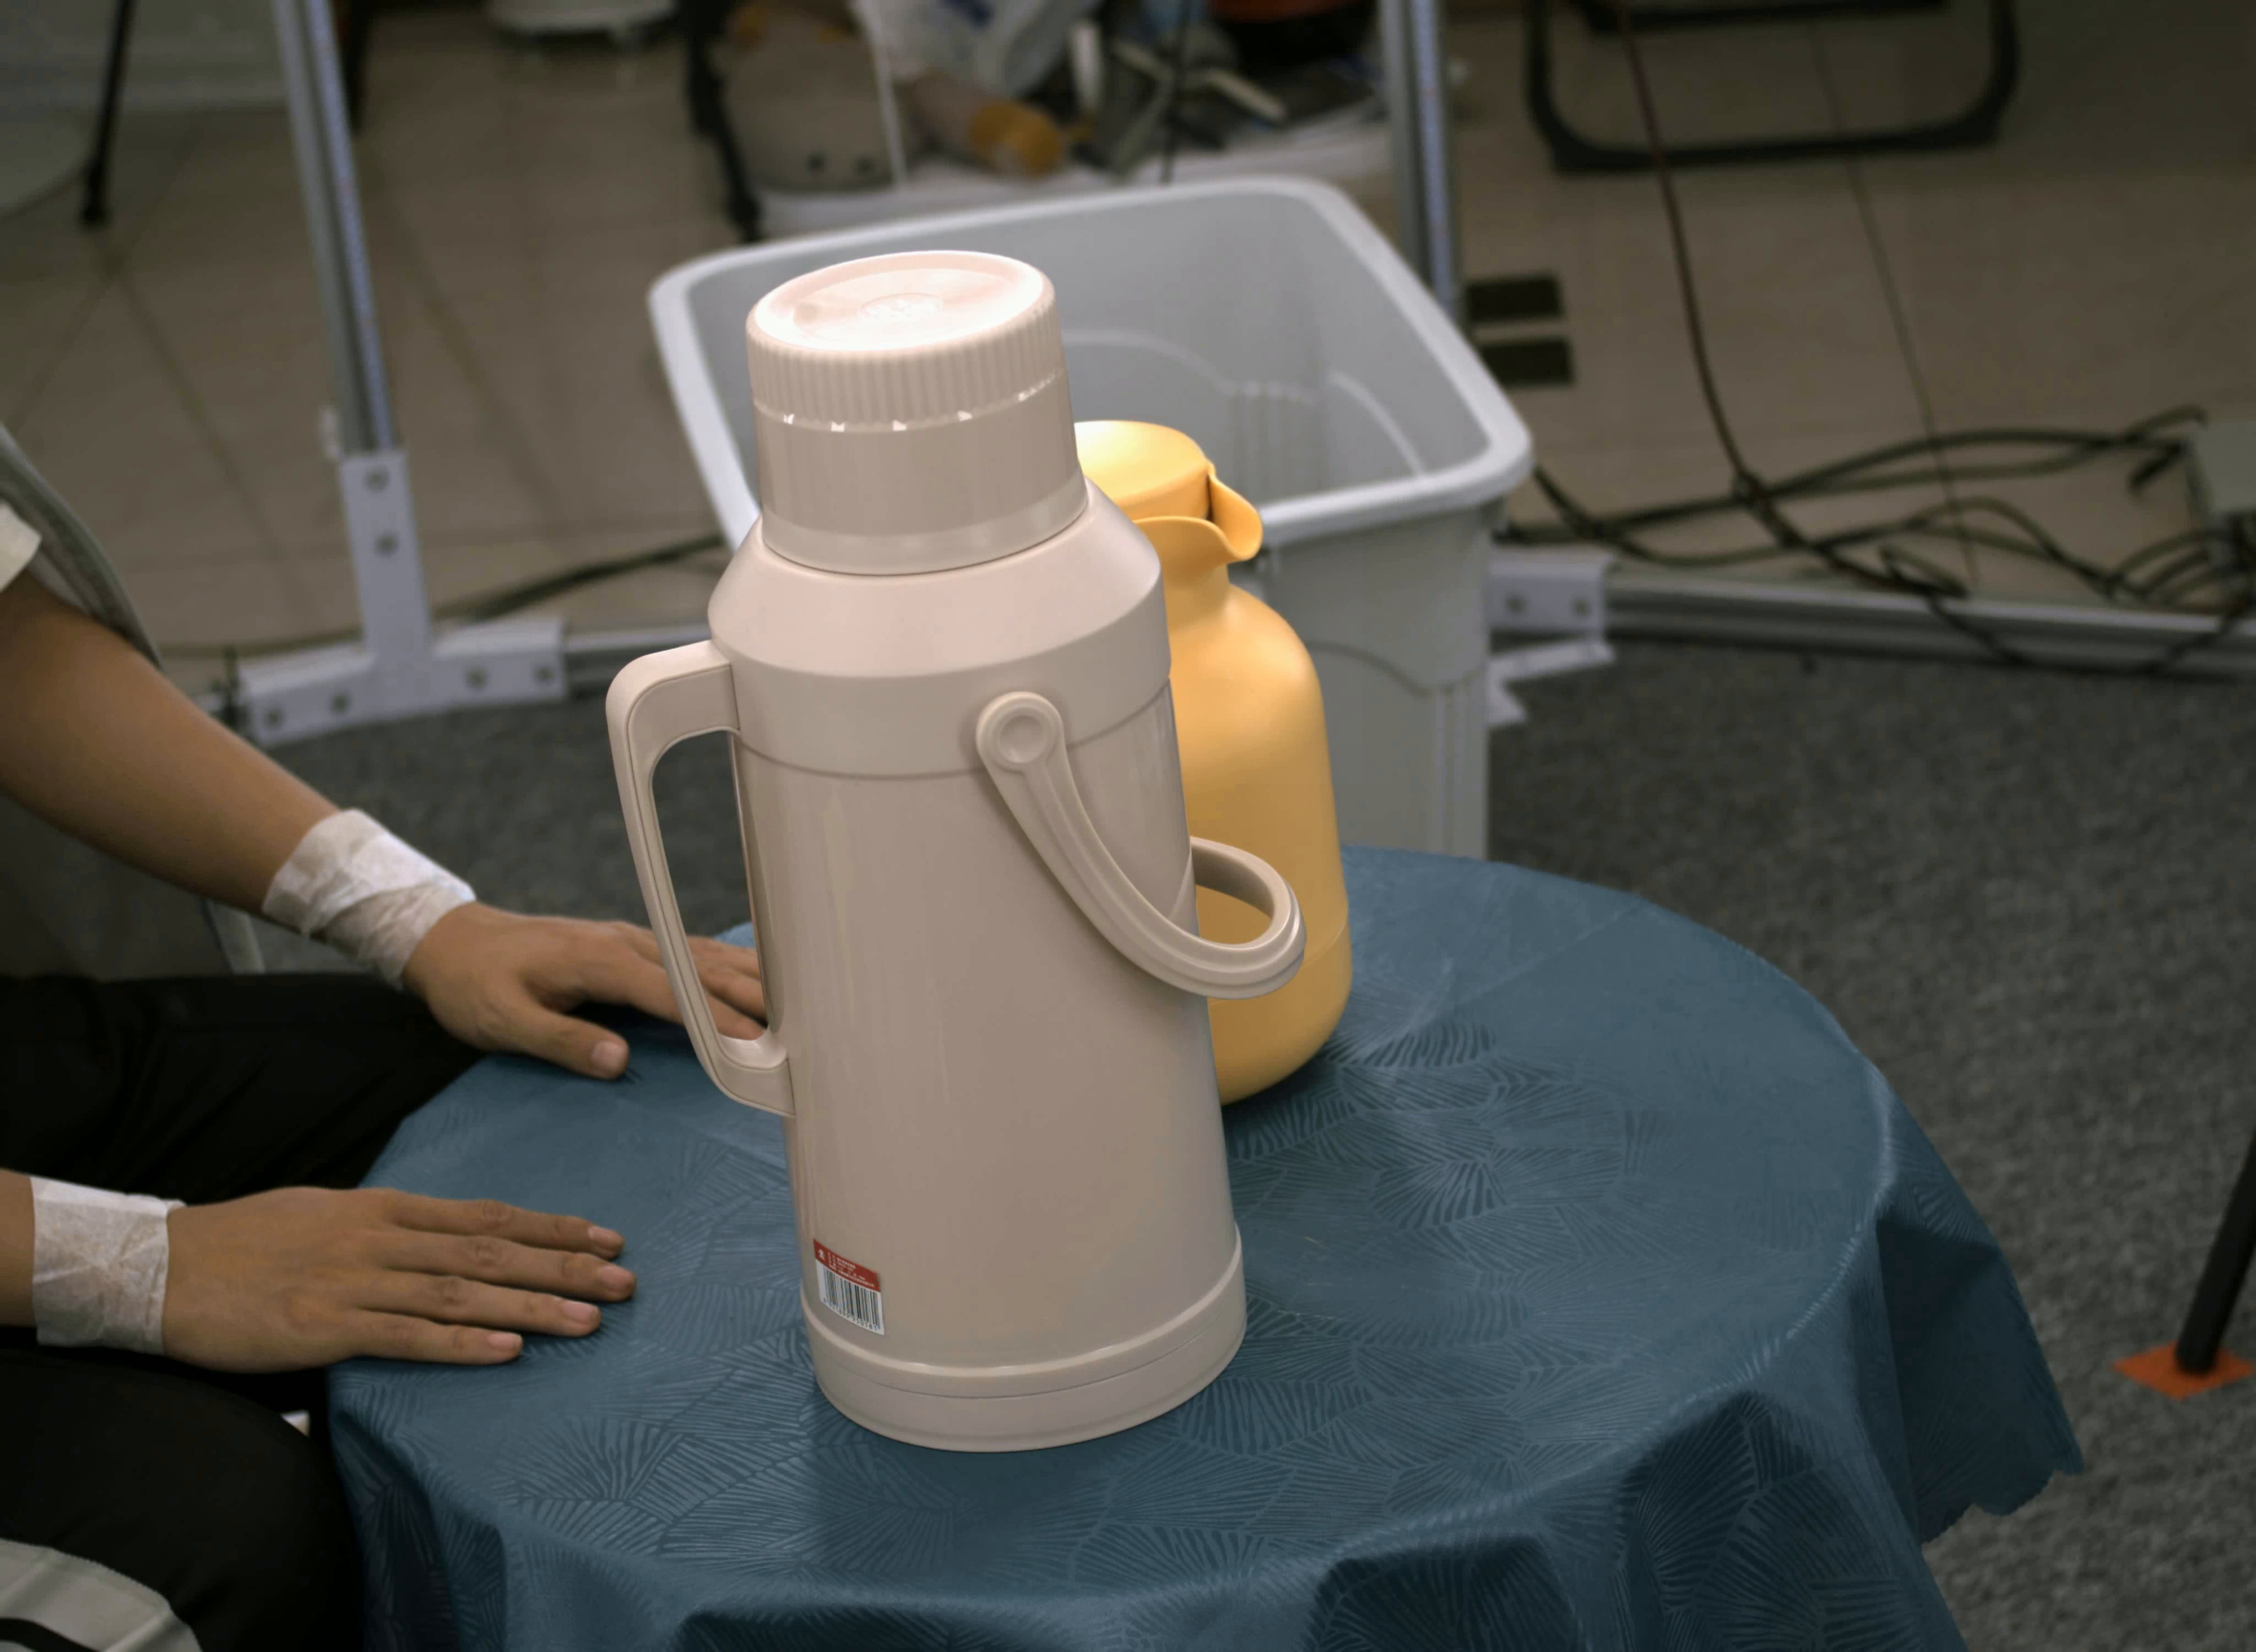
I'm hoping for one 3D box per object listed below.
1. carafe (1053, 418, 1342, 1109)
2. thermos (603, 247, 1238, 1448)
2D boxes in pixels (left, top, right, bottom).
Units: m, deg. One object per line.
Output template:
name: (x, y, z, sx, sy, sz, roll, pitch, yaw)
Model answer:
carafe: (-0.018, -0.031, 2.205, 0.201, 0.264, 0.162, 15, 31, 36)
thermos: (-0.071, 0.009, 1.969, 0.206, 0.413, 0.173, -13, 28, -15)
